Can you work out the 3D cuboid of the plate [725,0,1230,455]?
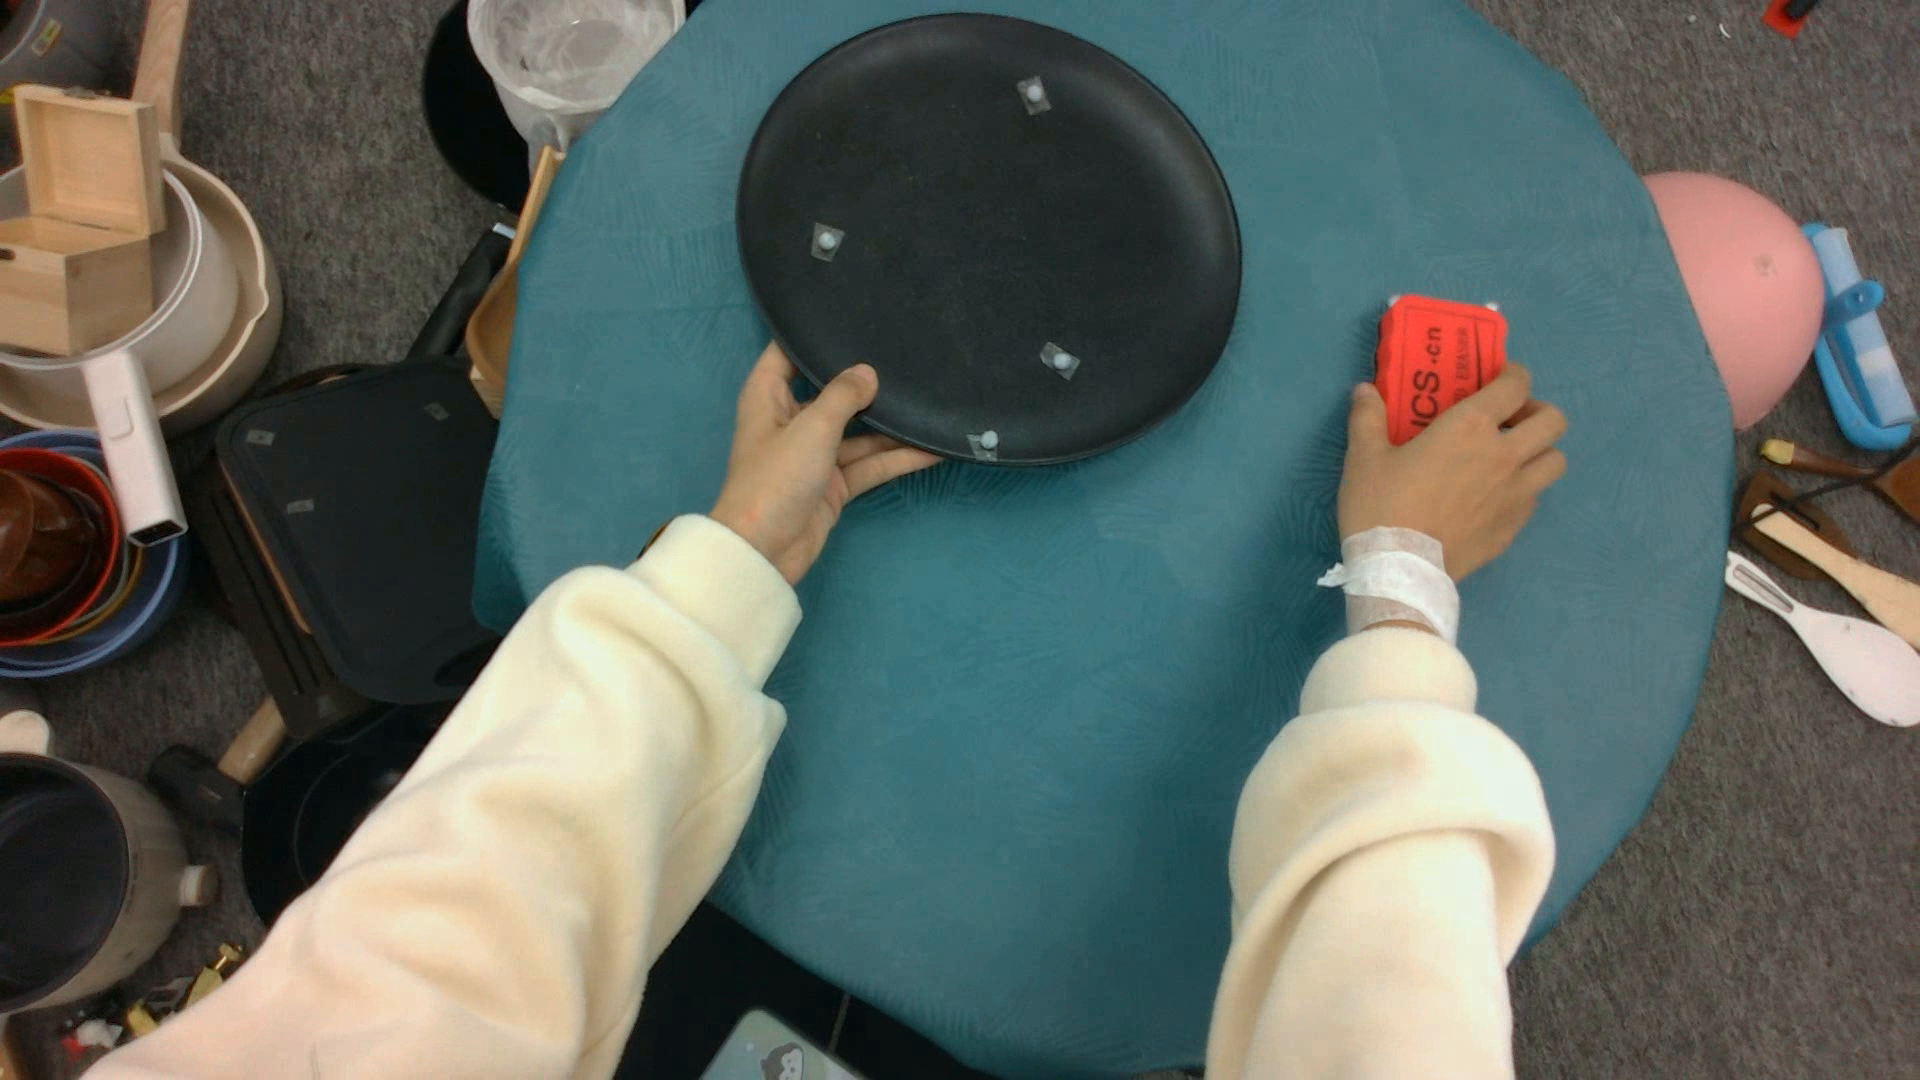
[{"bbox_3d":[0.011,-0.151,0.661,0.244,0.023,0.245,3,72,-10],"label":"plate"}]

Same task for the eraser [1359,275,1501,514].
[{"bbox_3d":[0.225,-0.070,0.659,0.059,0.023,0.108,13,74,-9],"label":"eraser"}]
